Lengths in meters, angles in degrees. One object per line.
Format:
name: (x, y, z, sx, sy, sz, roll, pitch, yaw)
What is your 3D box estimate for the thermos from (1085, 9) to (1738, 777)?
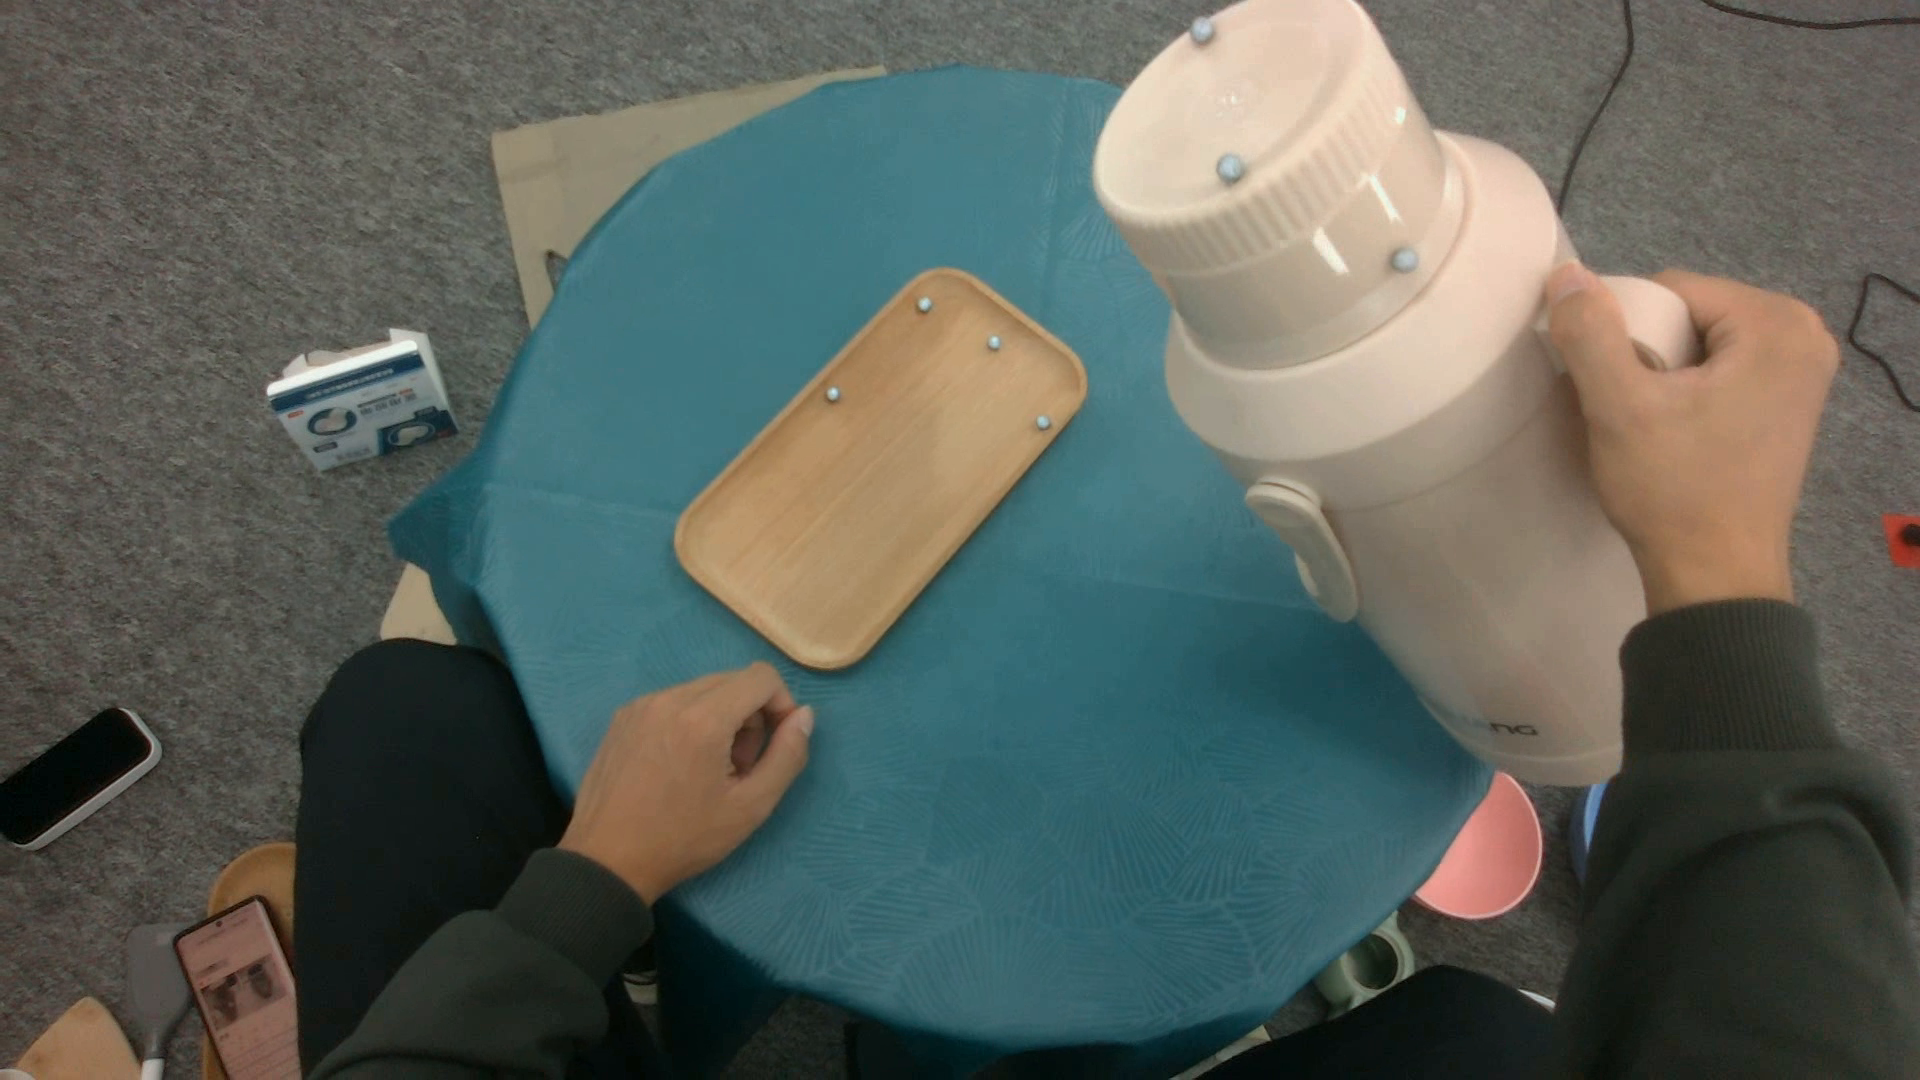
thermos: (0.216, -0.043, 0.597, 0.406, 0.206, 0.176, 41, 69, -38)

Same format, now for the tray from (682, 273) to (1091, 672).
tray: (-0.038, -0.044, 0.791, 0.130, 0.023, 0.251, 38, 69, 11)
